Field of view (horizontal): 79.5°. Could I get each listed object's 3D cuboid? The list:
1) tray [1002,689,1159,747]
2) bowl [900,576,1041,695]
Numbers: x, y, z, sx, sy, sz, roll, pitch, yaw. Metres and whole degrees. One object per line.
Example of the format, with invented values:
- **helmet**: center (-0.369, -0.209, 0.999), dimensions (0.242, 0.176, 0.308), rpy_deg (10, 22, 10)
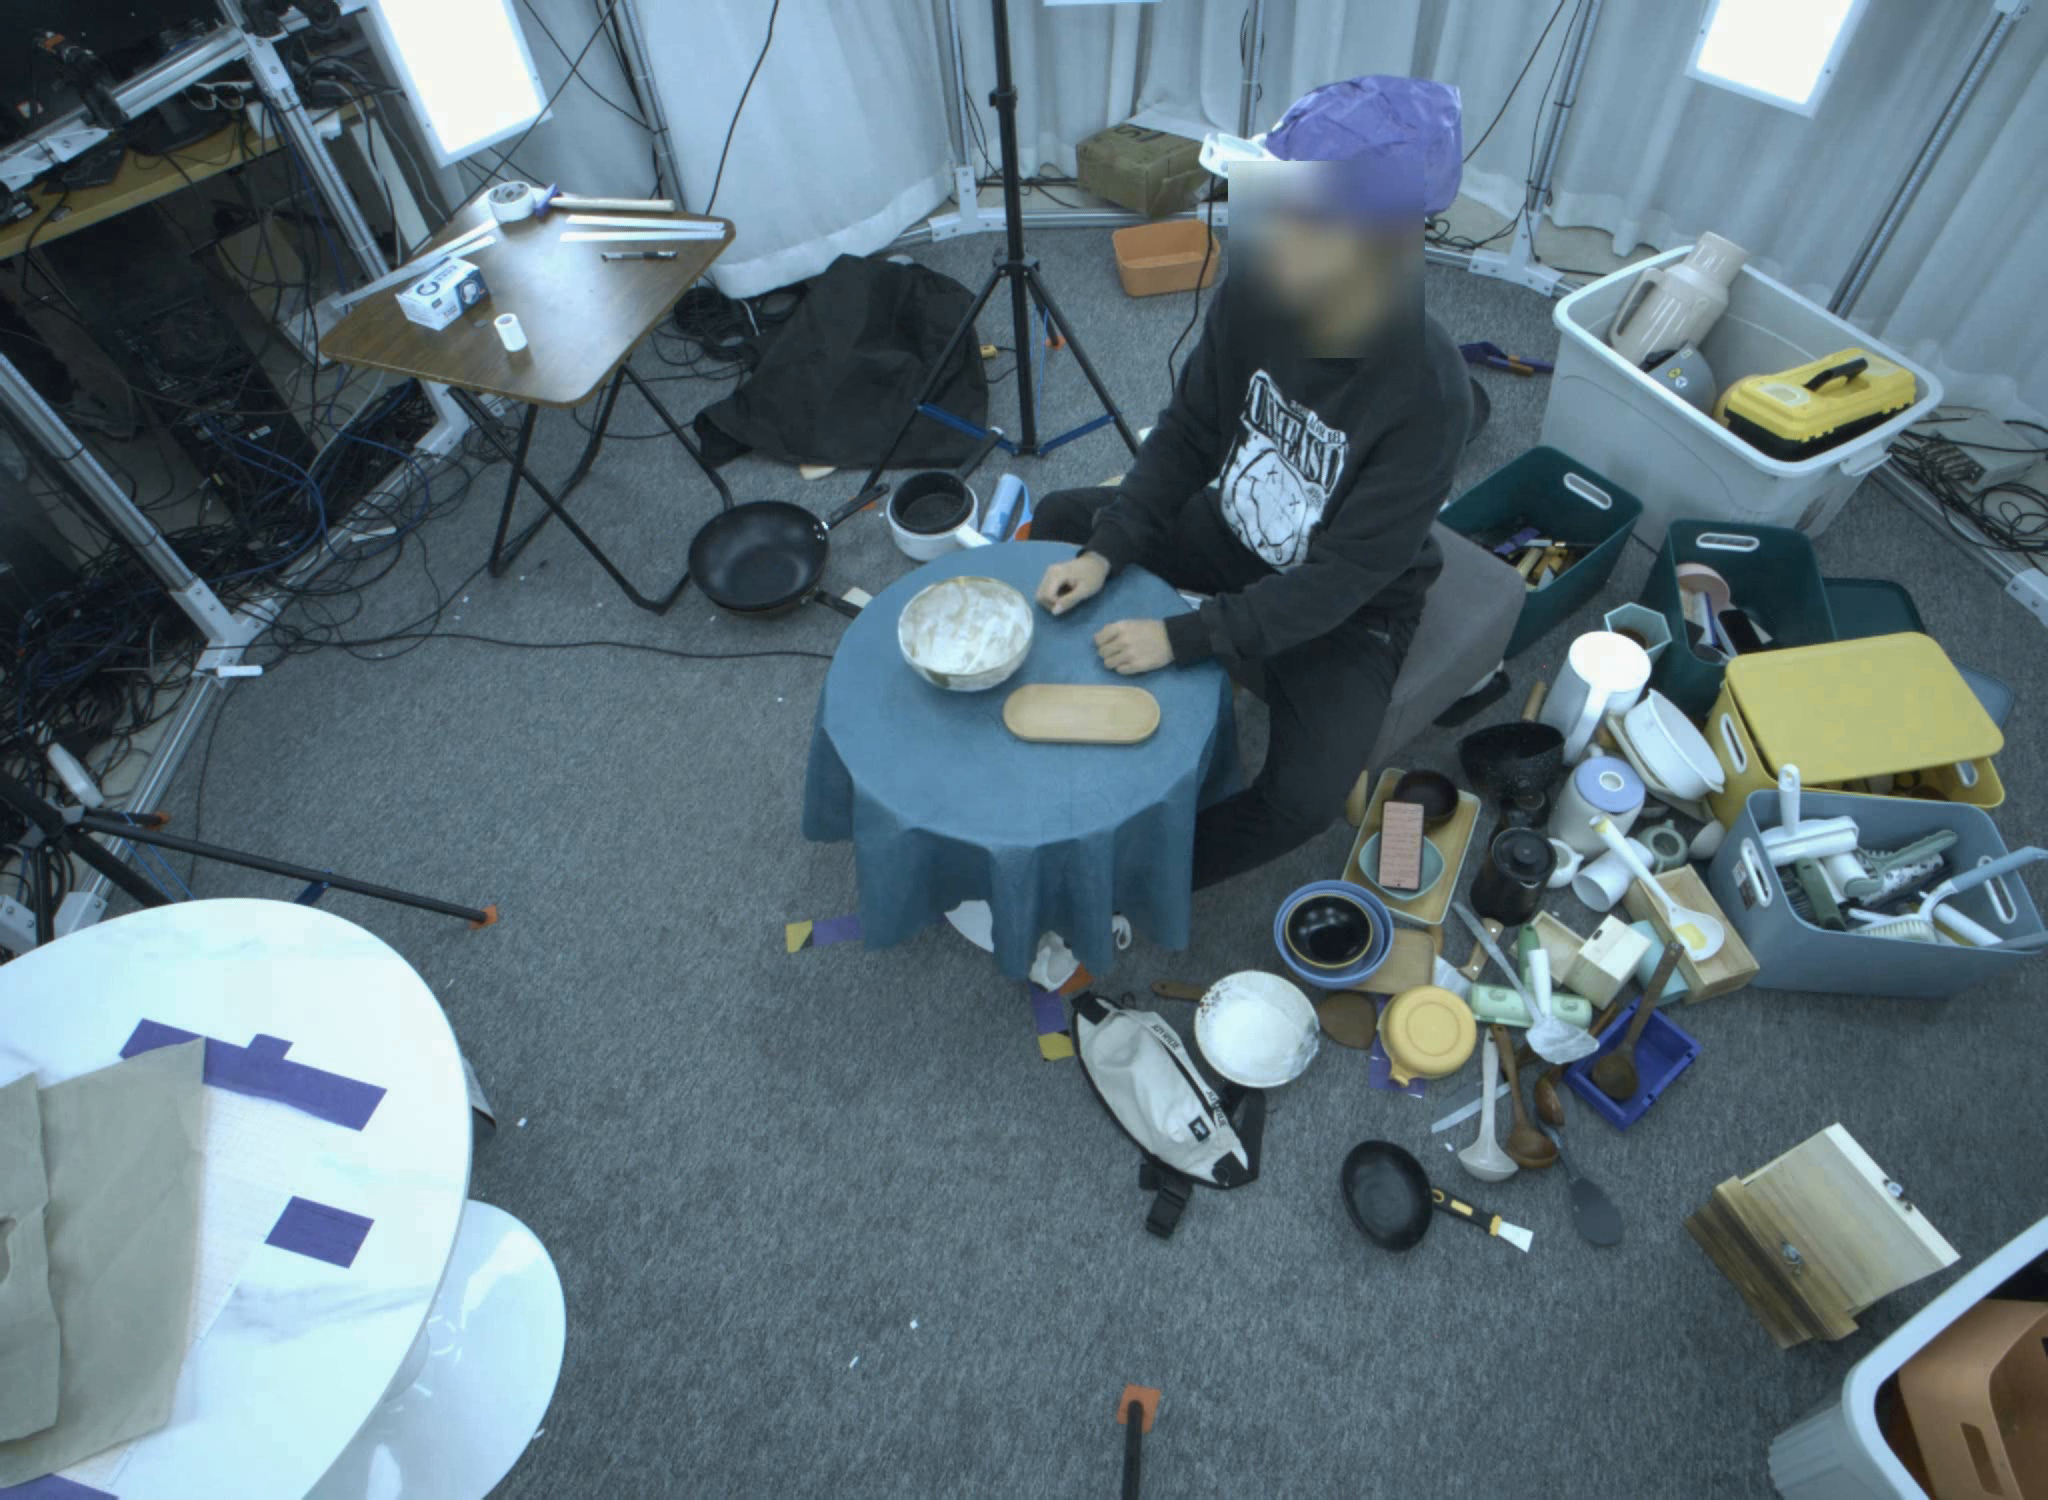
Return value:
- **tray**: center (0.083, -0.047, 1.819), dimensions (0.230, 0.020, 0.101), rpy_deg (0, 53, 4)
- **bowl**: center (-0.078, -0.155, 1.852), dimensions (0.214, 0.095, 0.212), rpy_deg (-1, 53, 2)
